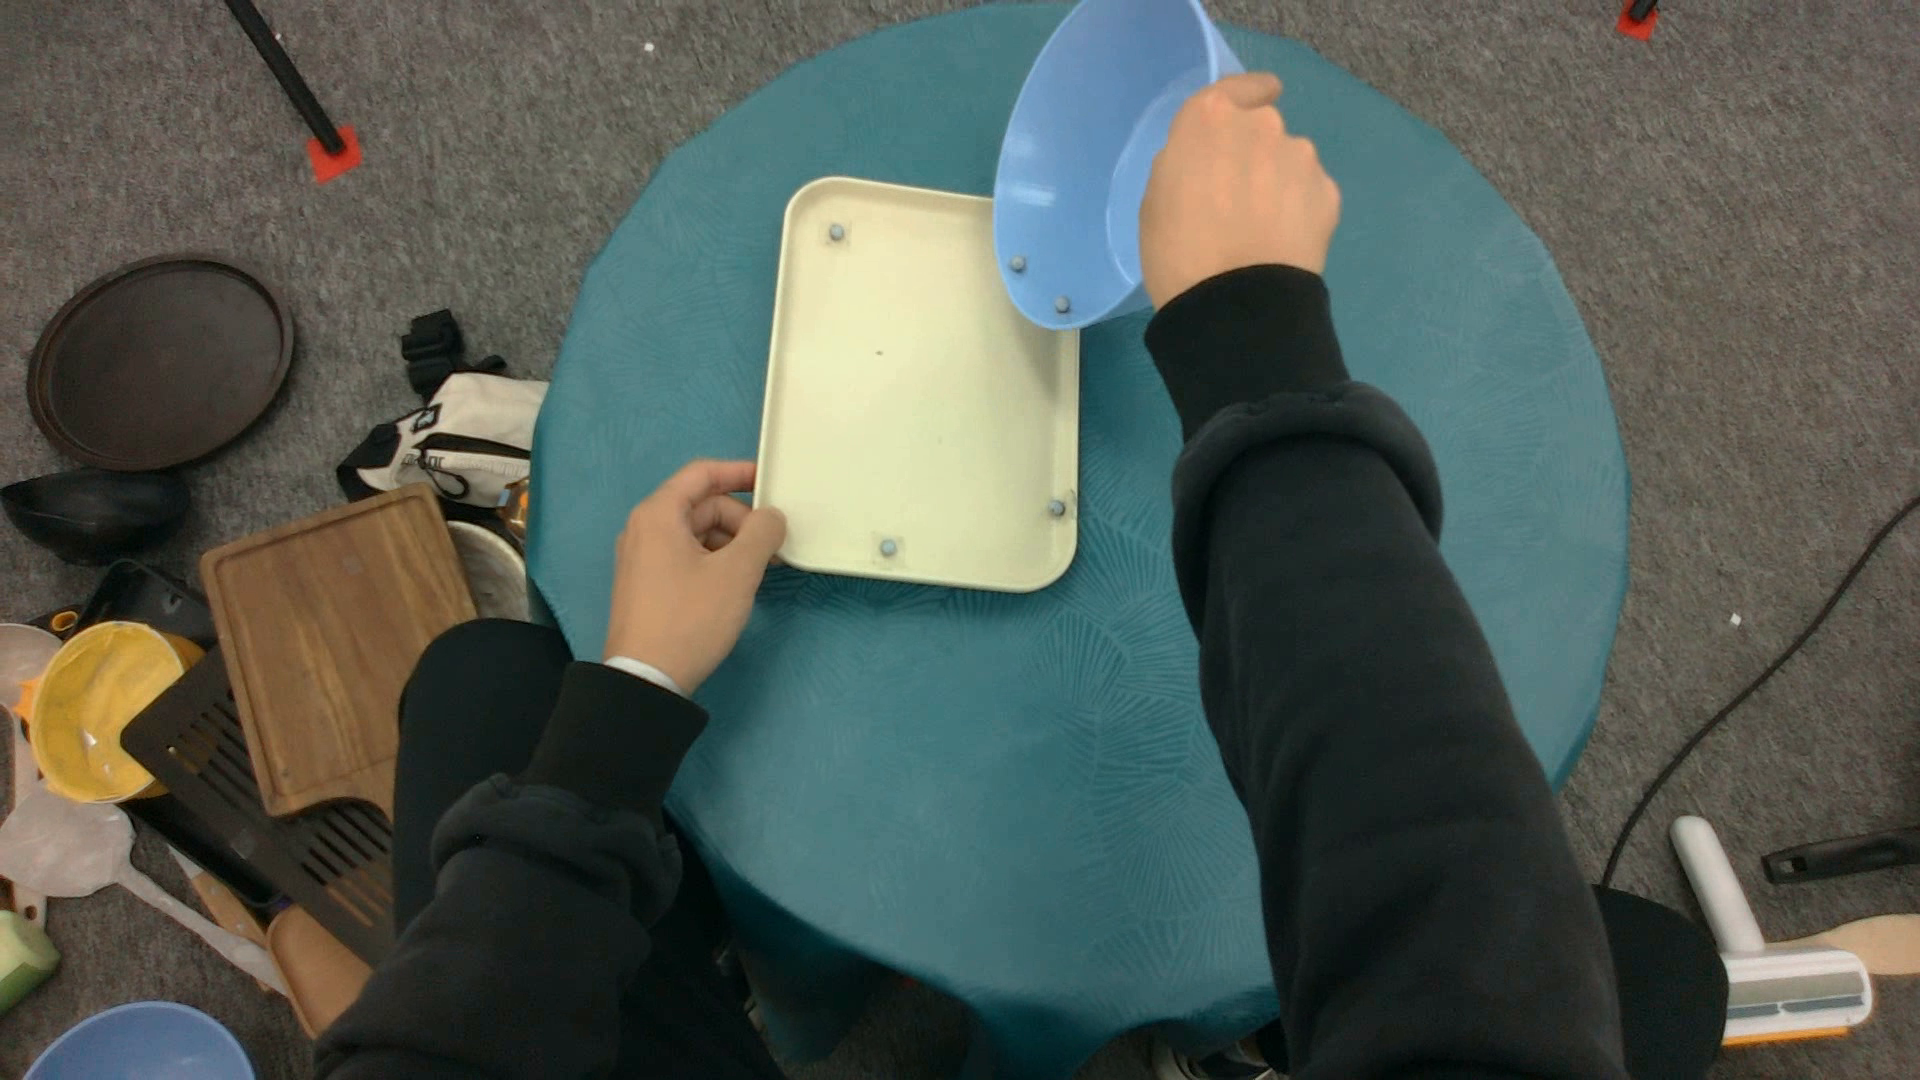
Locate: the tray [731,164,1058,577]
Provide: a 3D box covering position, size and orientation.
[{"bbox_3d":[-0.031,-0.095,0.749,0.171,0.017,0.240,6,67,-9],"label":"tray"}]

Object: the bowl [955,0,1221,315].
[{"bbox_3d":[0.071,-0.198,0.708,0.070,0.175,0.176,6,66,-33],"label":"bowl"}]
